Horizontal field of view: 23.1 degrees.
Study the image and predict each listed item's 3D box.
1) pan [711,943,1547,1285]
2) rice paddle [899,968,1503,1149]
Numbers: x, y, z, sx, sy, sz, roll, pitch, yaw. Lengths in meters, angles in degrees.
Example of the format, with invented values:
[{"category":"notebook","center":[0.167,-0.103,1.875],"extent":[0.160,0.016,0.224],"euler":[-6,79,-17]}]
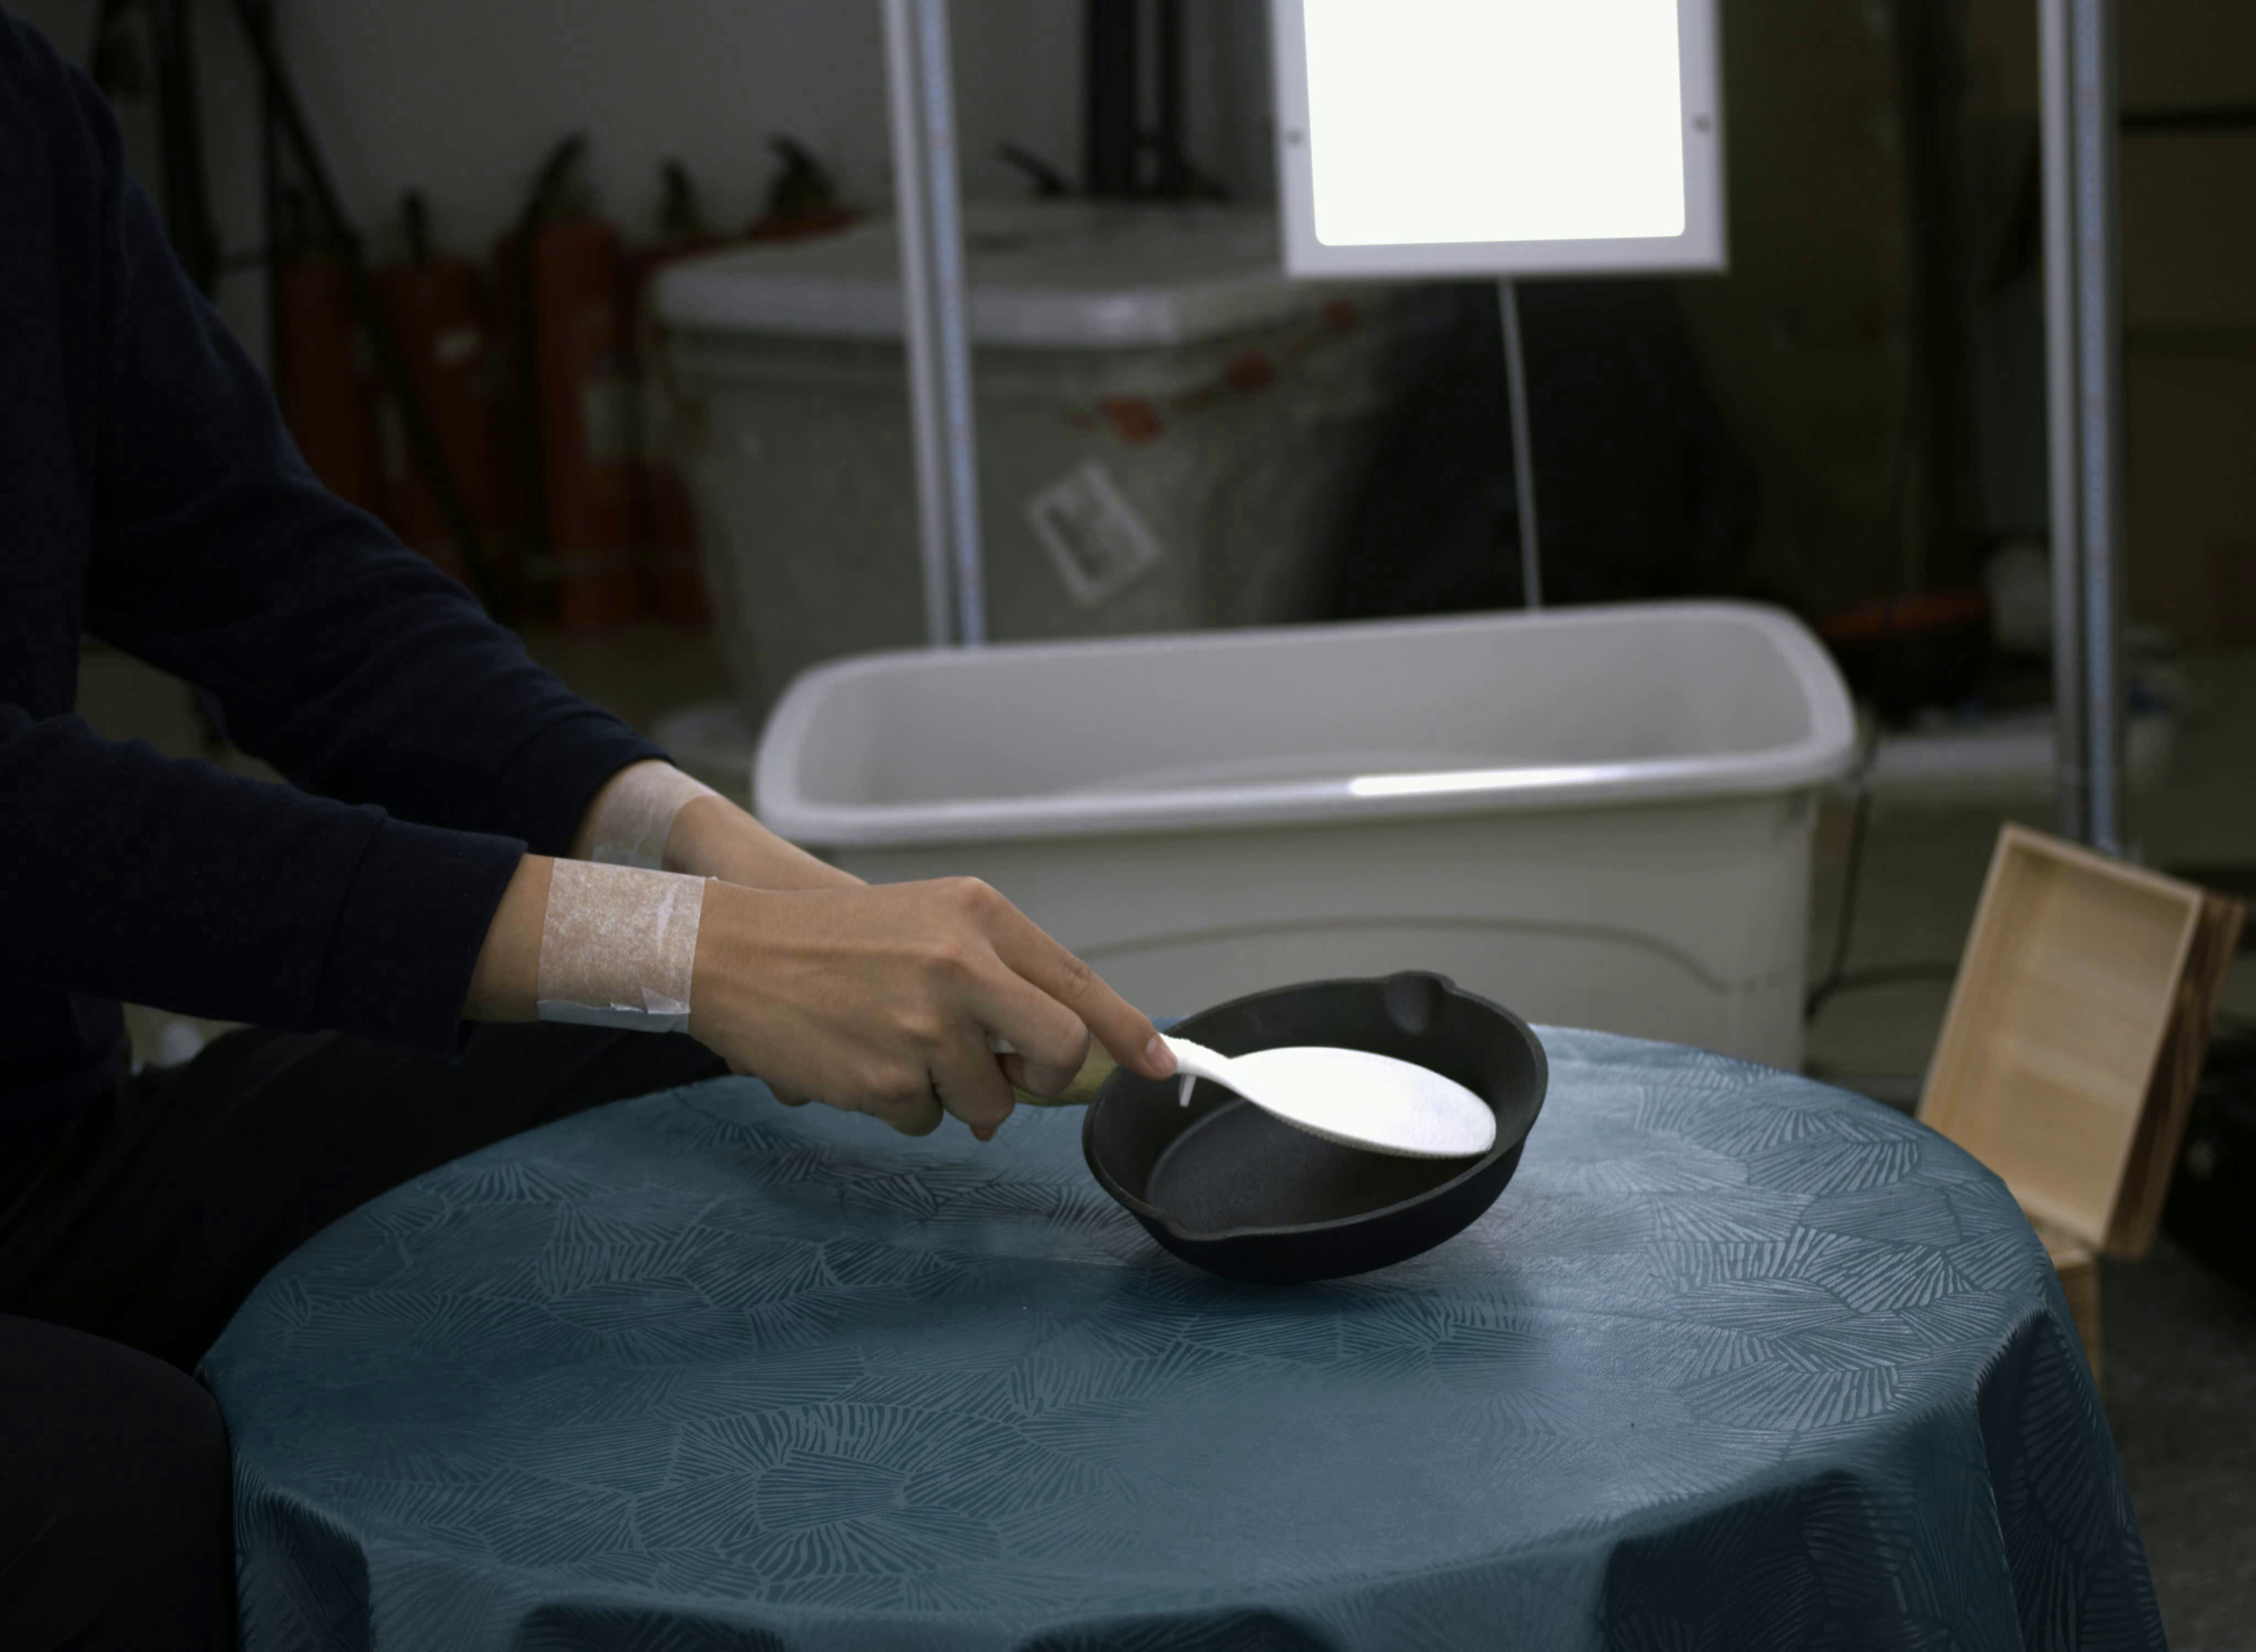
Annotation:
[{"category":"pan","center":[-0.007,0.086,1.876],"extent":[0.330,0.049,0.165],"euler":[9,36,34]},{"category":"rice paddle","center":[0.026,0.078,1.828],"extent":[0.204,0.030,0.068],"euler":[10,23,-4]}]
